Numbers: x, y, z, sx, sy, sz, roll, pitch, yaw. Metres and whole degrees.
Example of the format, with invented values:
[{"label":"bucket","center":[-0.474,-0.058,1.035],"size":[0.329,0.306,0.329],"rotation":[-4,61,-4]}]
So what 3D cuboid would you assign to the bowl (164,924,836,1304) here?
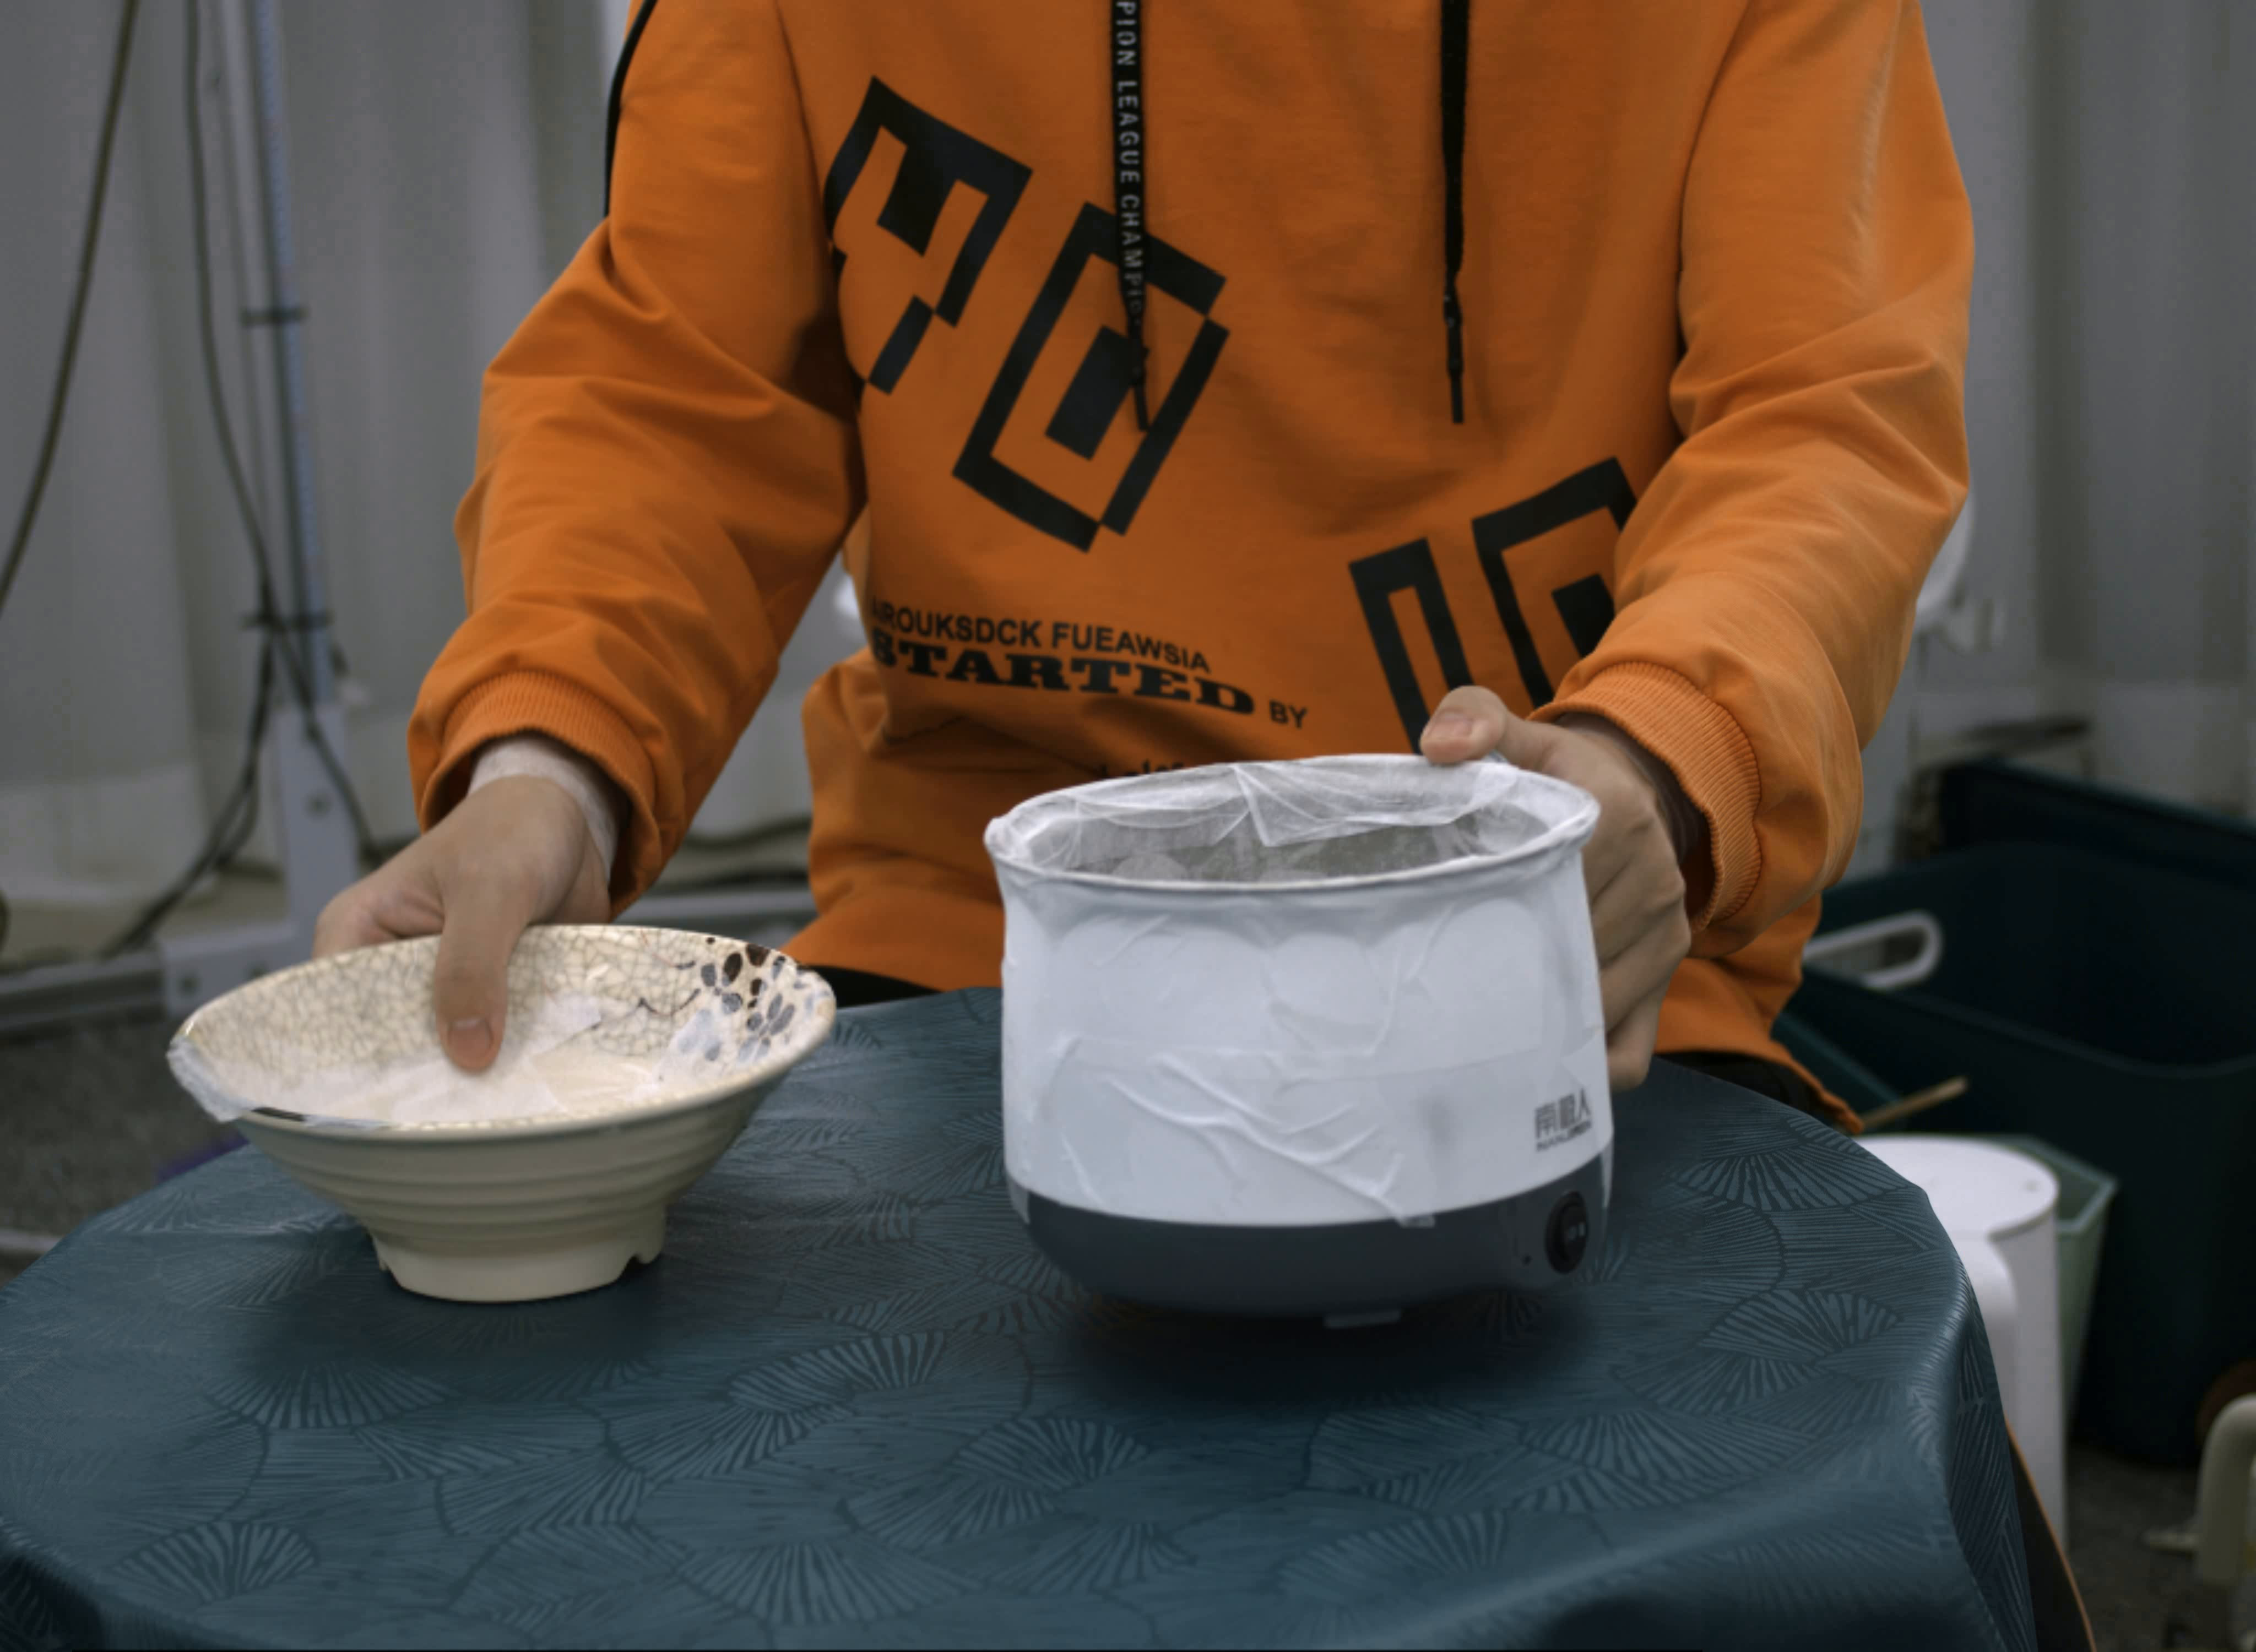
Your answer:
[{"label":"bowl","center":[-0.190,0.095,1.671],"size":[0.203,0.077,0.205],"rotation":[0,15,0]}]

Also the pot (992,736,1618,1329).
[{"label":"pot","center":[0.067,0.054,1.599],"size":[0.179,0.136,0.233],"rotation":[5,14,33]}]
